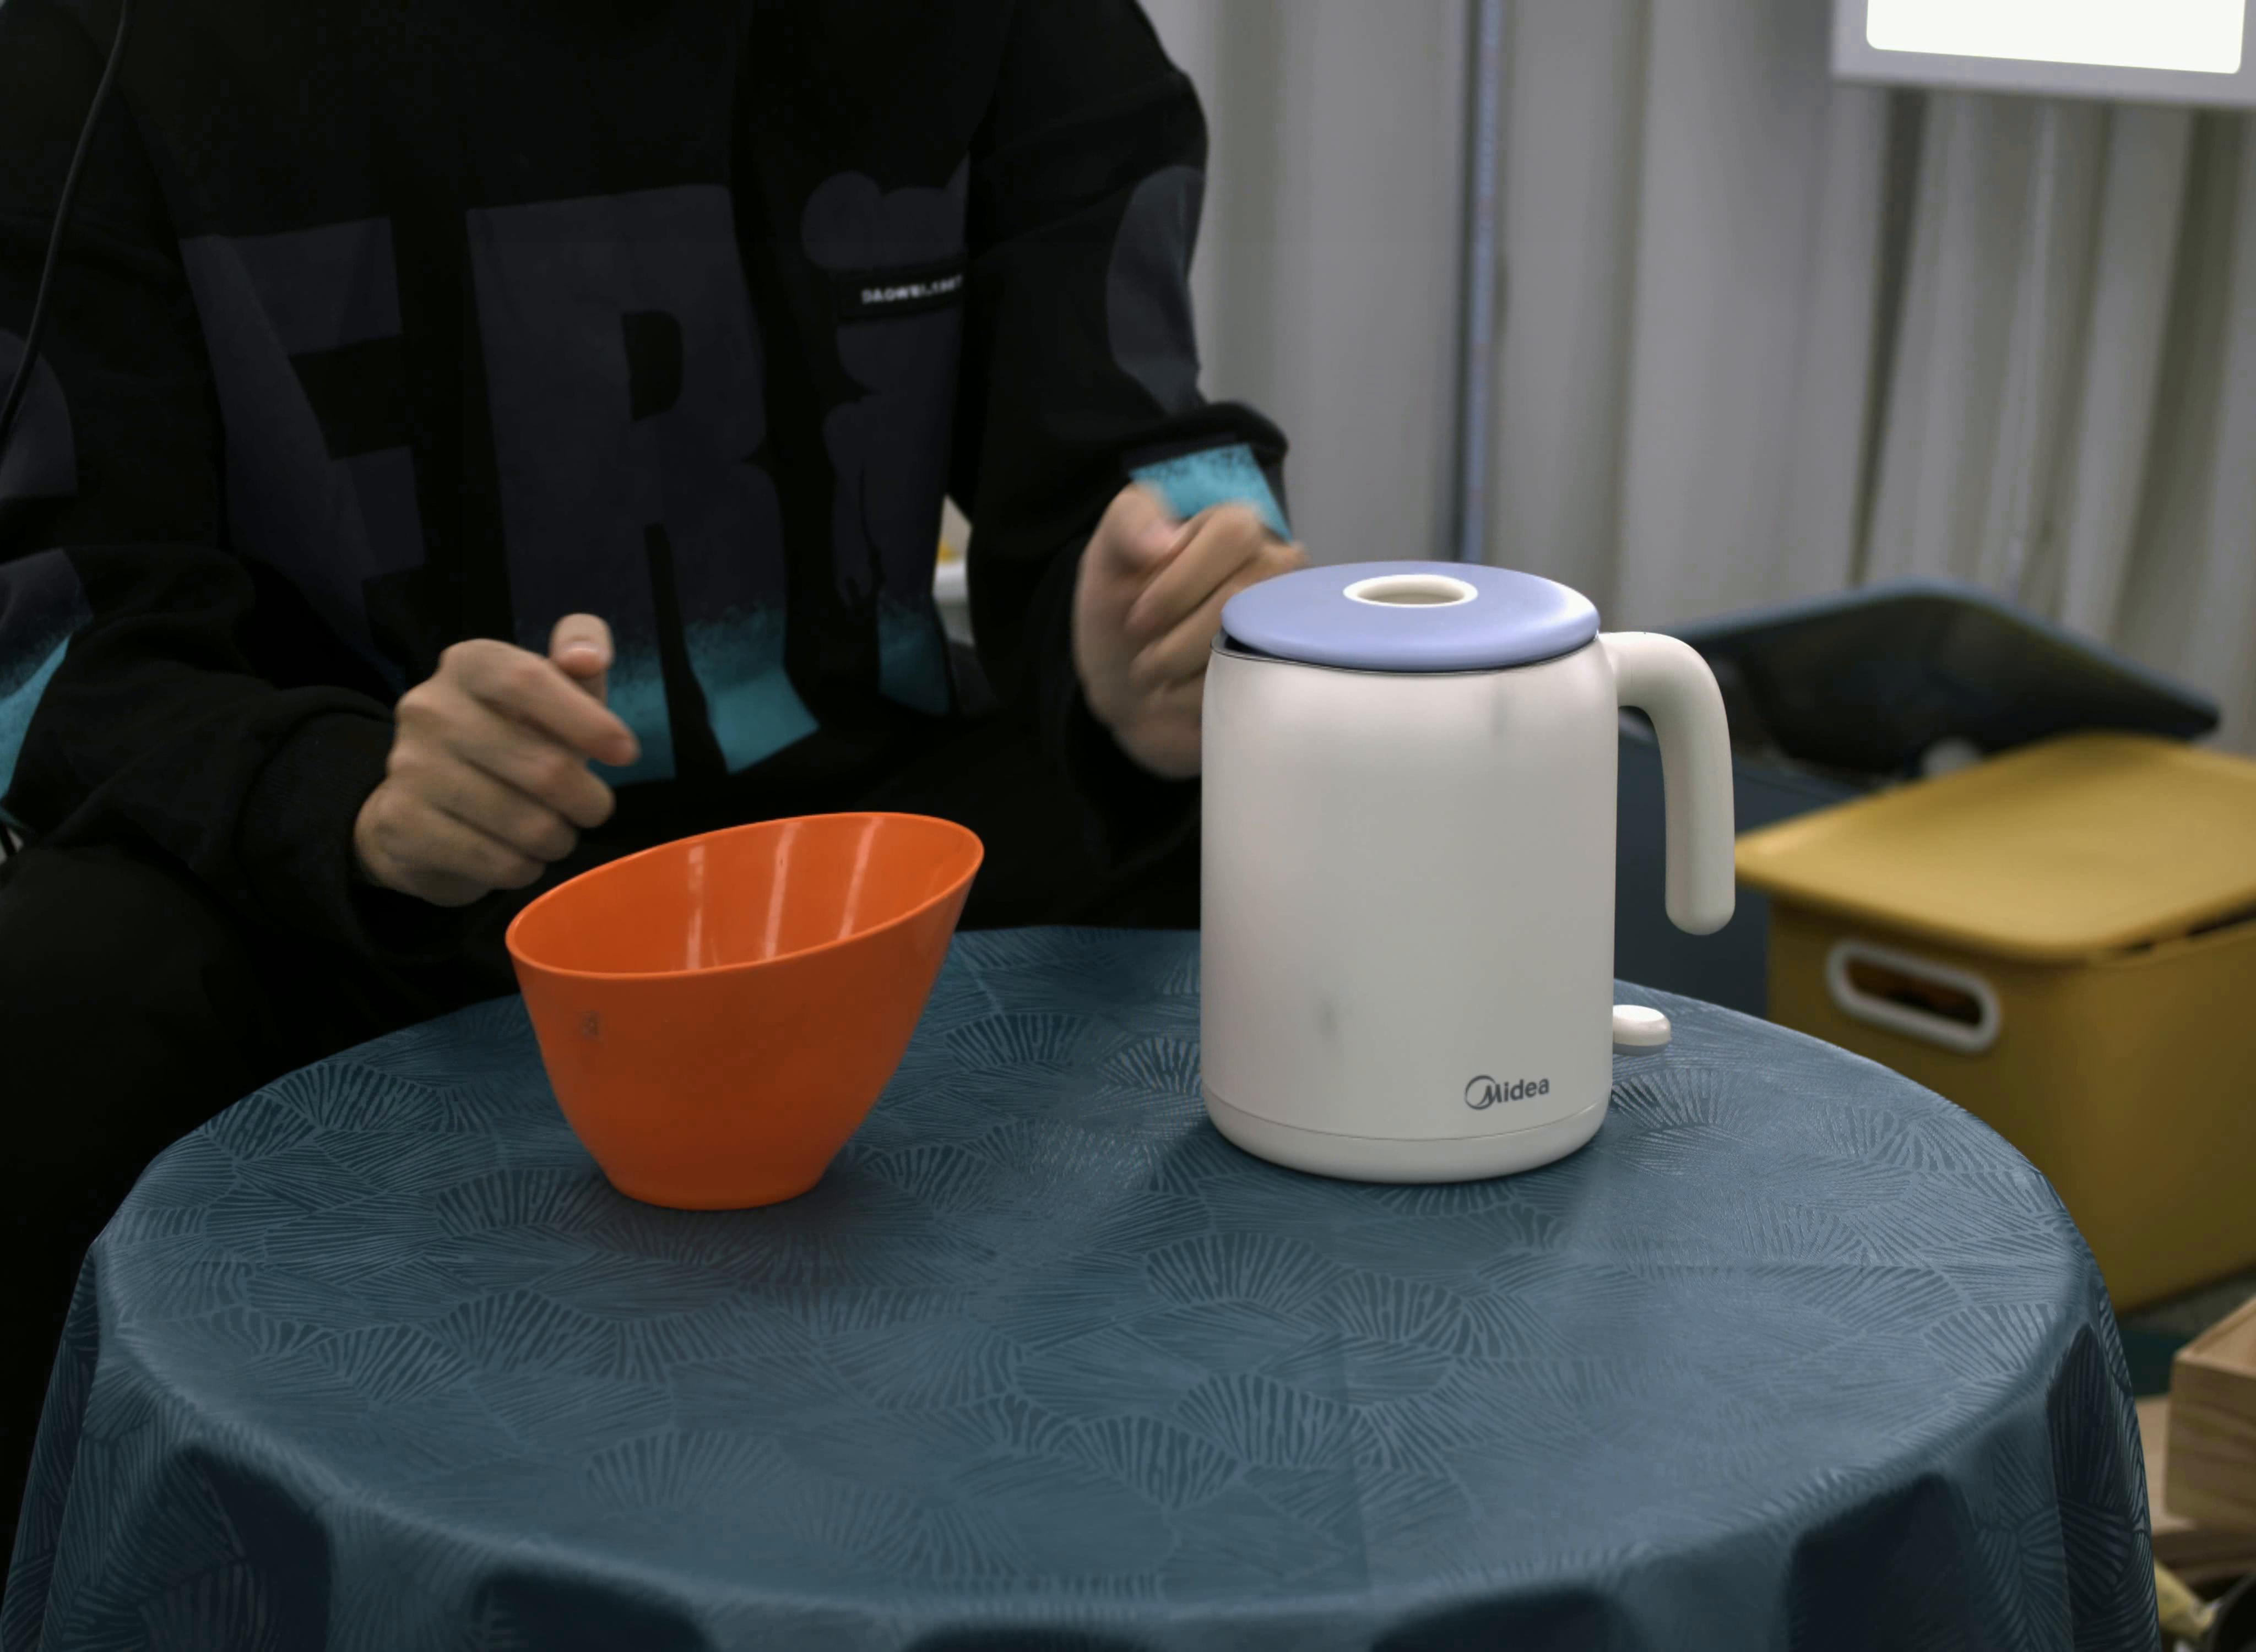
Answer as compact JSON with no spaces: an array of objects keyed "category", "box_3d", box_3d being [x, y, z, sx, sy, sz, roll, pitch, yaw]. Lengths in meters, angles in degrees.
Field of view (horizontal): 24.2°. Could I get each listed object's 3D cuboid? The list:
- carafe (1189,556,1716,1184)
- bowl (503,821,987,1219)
[{"category":"carafe","box_3d":[0.108,0.011,1.670,0.192,0.184,0.130,-6,18,-28]},{"category":"bowl","box_3d":[-0.117,0.061,1.614,0.147,0.105,0.147,1,16,0]}]
